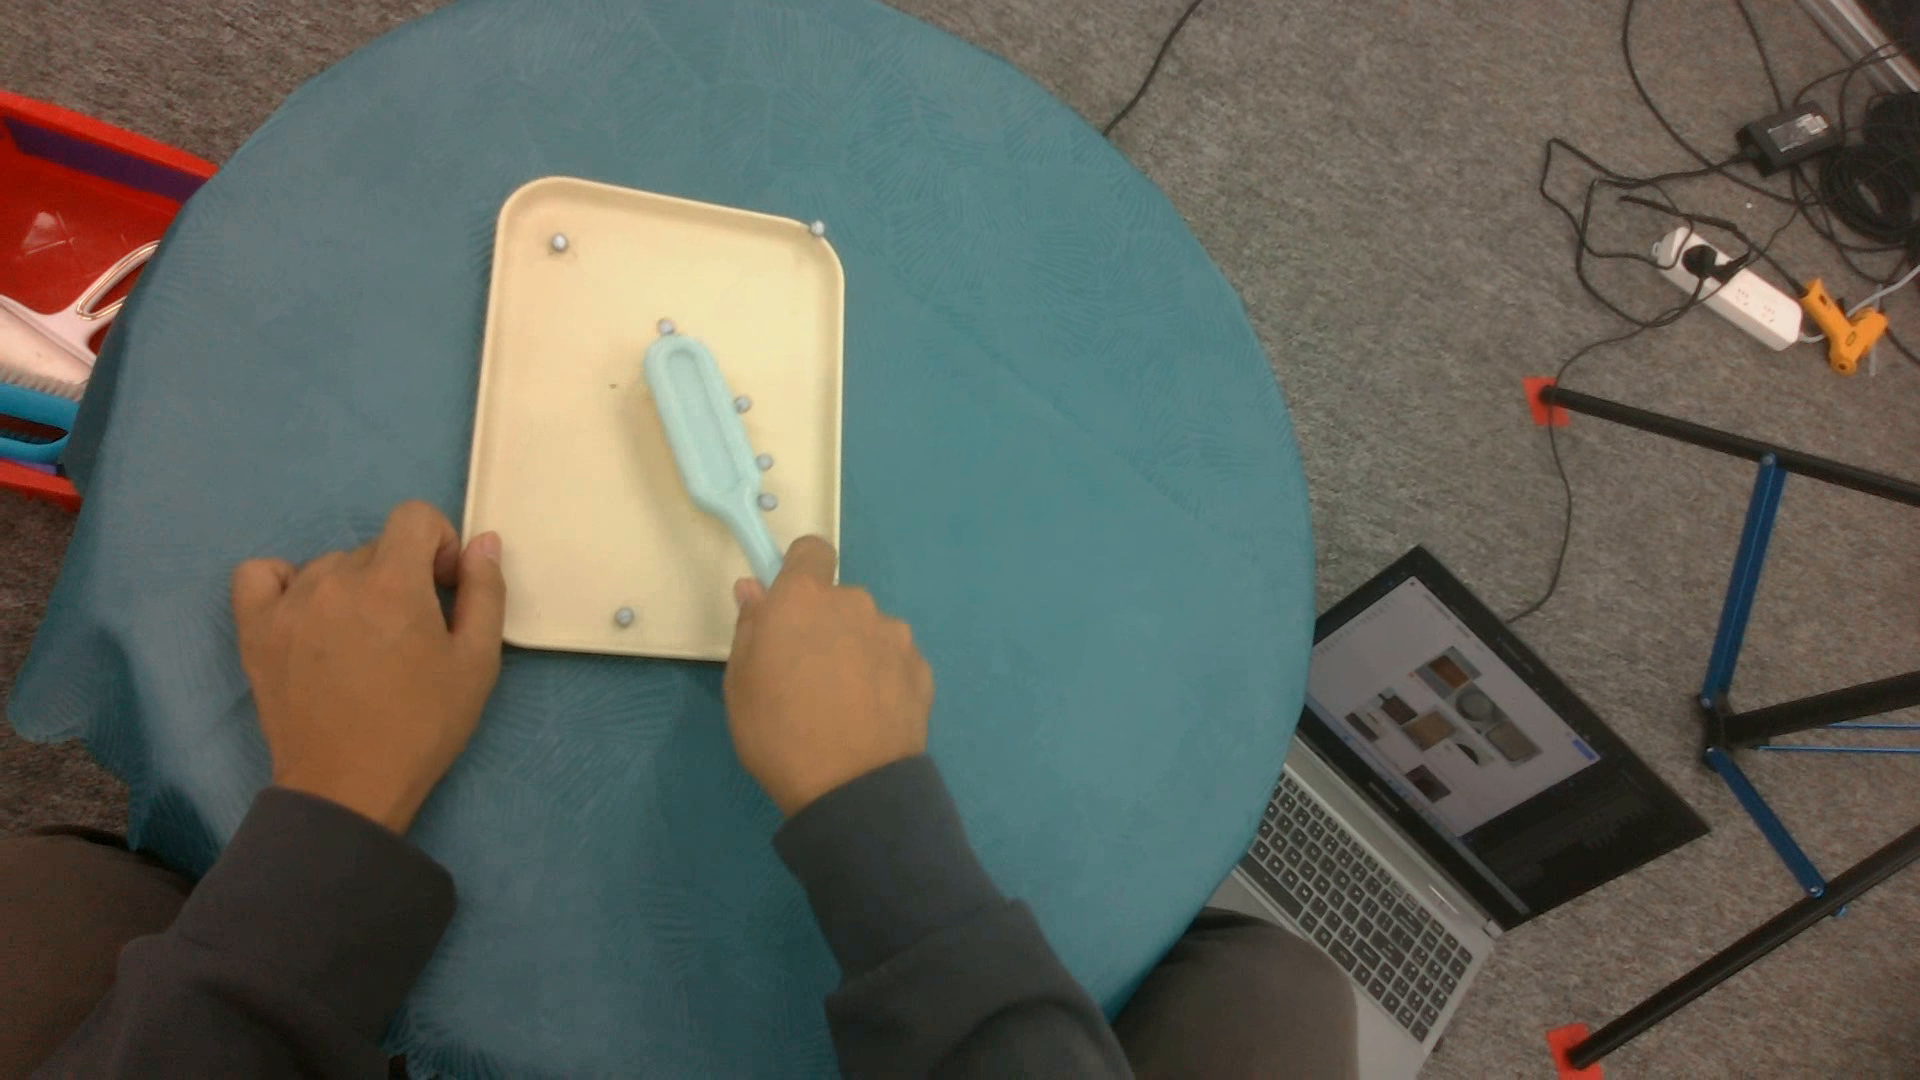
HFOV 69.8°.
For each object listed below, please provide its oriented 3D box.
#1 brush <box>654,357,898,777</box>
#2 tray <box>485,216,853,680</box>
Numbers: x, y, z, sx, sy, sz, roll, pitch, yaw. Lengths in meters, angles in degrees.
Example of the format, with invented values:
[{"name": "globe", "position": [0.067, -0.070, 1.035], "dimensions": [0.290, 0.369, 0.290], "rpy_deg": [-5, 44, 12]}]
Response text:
[{"name": "brush", "position": [-0.087, 0.011, 0.642], "dimensions": [0.038, 0.049, 0.229], "rpy_deg": [-21, 64, -23]}, {"name": "tray", "position": [-0.139, -0.047, 0.680], "dimensions": [0.171, 0.017, 0.240], "rpy_deg": [3, 69, -17]}]
